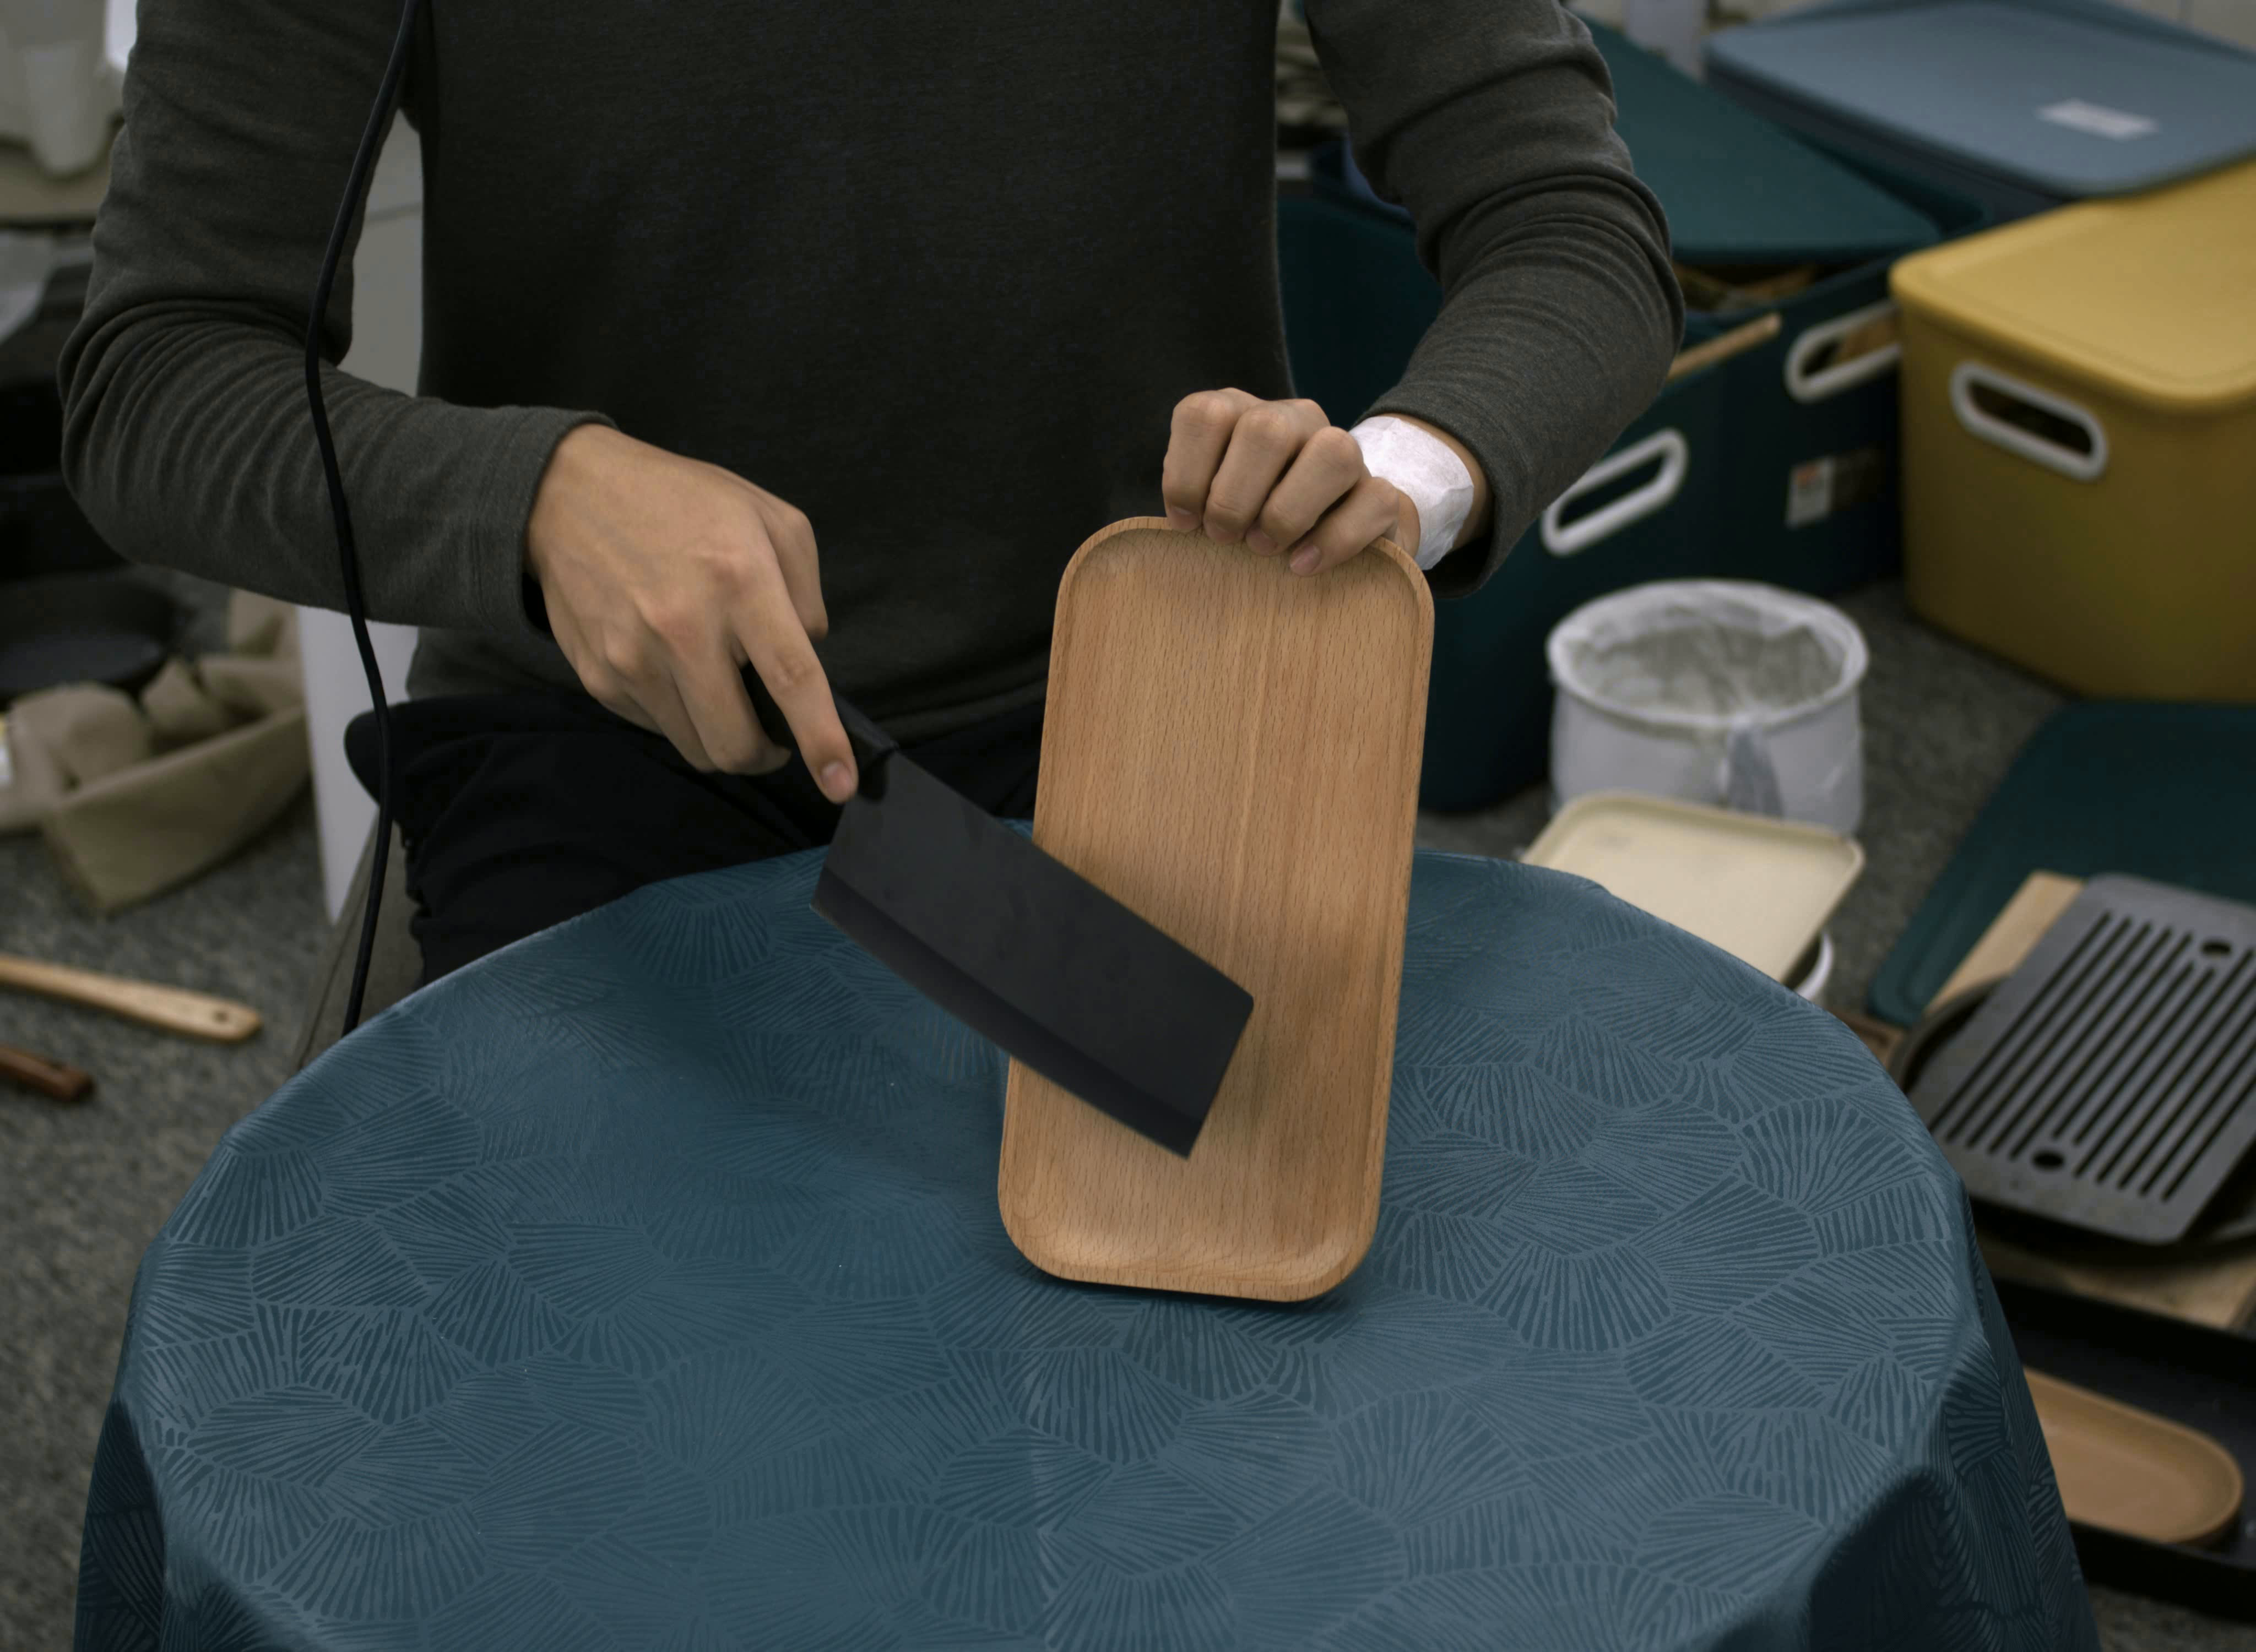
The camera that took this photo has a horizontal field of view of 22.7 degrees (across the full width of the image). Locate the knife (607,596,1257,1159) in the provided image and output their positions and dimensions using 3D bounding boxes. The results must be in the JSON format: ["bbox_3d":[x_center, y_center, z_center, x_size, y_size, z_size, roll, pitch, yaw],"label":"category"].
[{"bbox_3d":[-0.071,0.010,1.851,0.303,0.080,0.021,38,20,33],"label":"knife"}]

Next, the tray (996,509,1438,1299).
[{"bbox_3d":[0.029,0.024,1.818,0.129,0.253,0.023,5,-8,15],"label":"tray"}]
